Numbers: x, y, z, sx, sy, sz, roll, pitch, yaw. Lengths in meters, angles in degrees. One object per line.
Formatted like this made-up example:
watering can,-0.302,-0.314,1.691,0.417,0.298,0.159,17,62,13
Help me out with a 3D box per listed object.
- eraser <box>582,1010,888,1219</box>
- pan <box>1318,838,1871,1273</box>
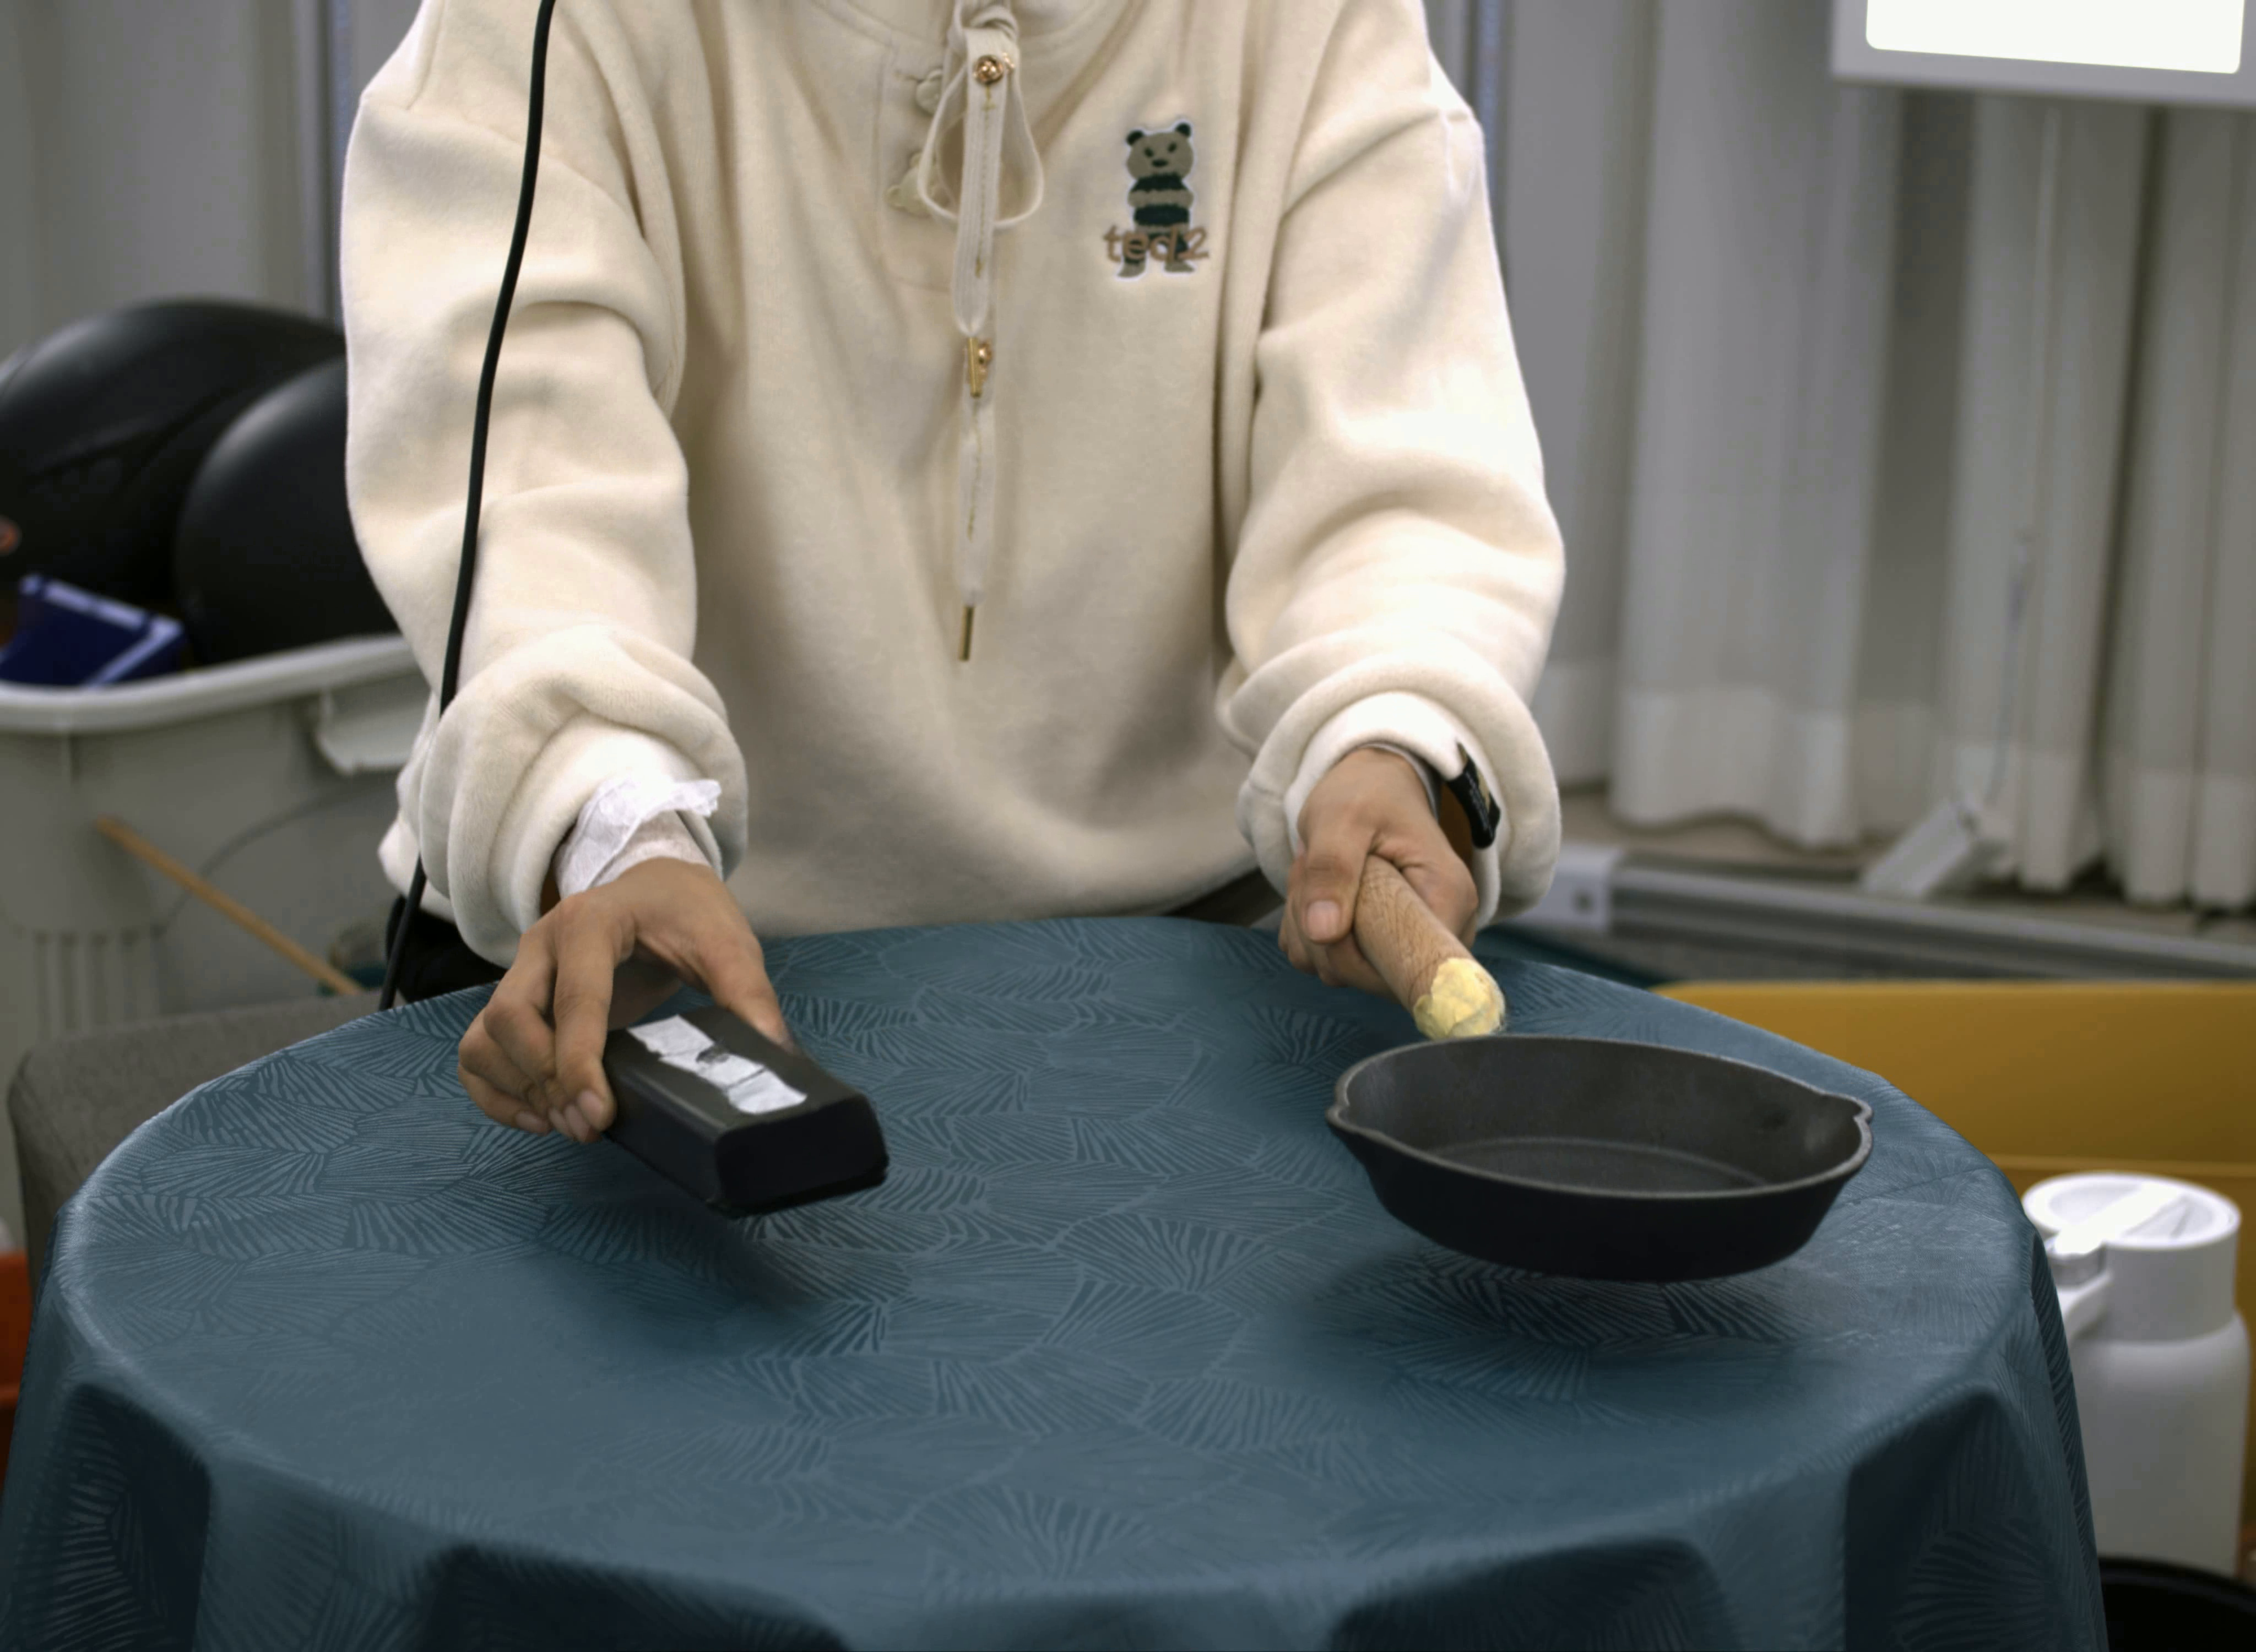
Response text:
eraser,-0.117,0.084,1.559,0.053,0.031,0.124,-14,16,-22
pan,0.115,0.067,1.612,0.169,0.050,0.321,-1,16,-15
